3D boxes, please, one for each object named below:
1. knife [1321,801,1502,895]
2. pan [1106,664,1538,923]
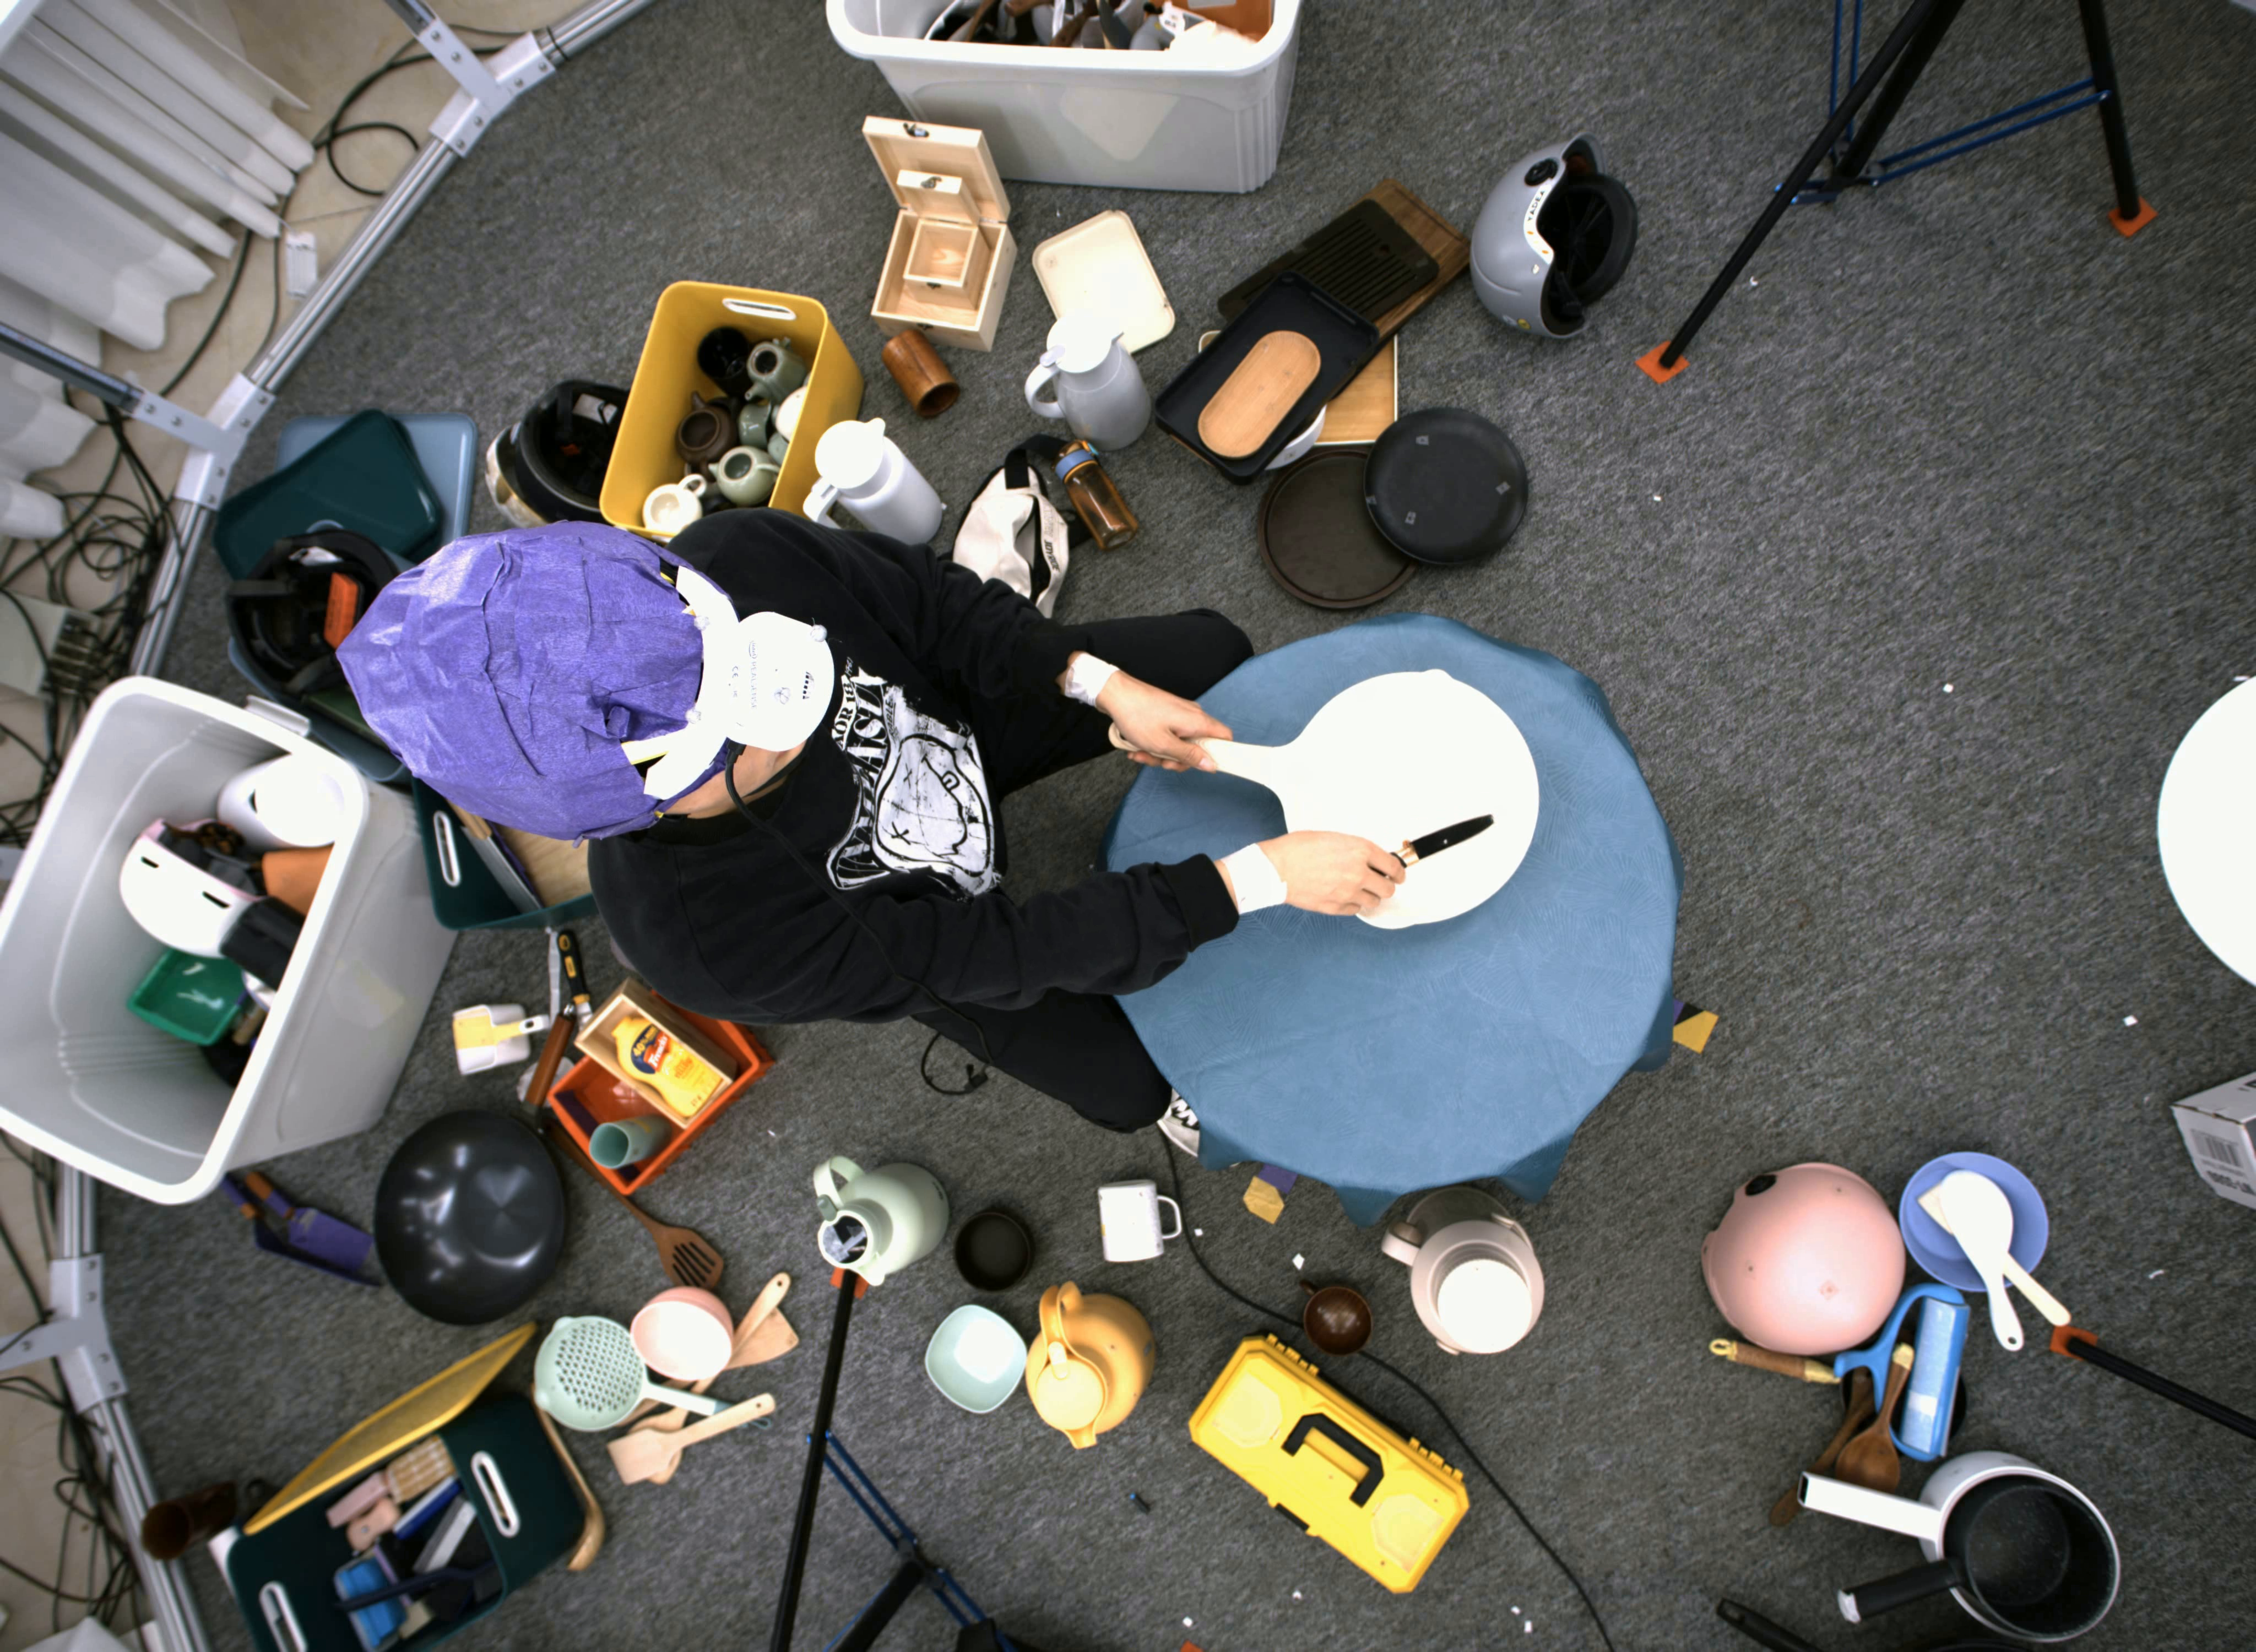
[{"bbox_3d":[0.291,0.020,1.401,0.224,0.017,0.026,-22,74,-14],"label":"knife"},{"bbox_3d":[0.197,-0.053,1.420,0.435,0.101,0.264,12,96,10],"label":"pan"}]
